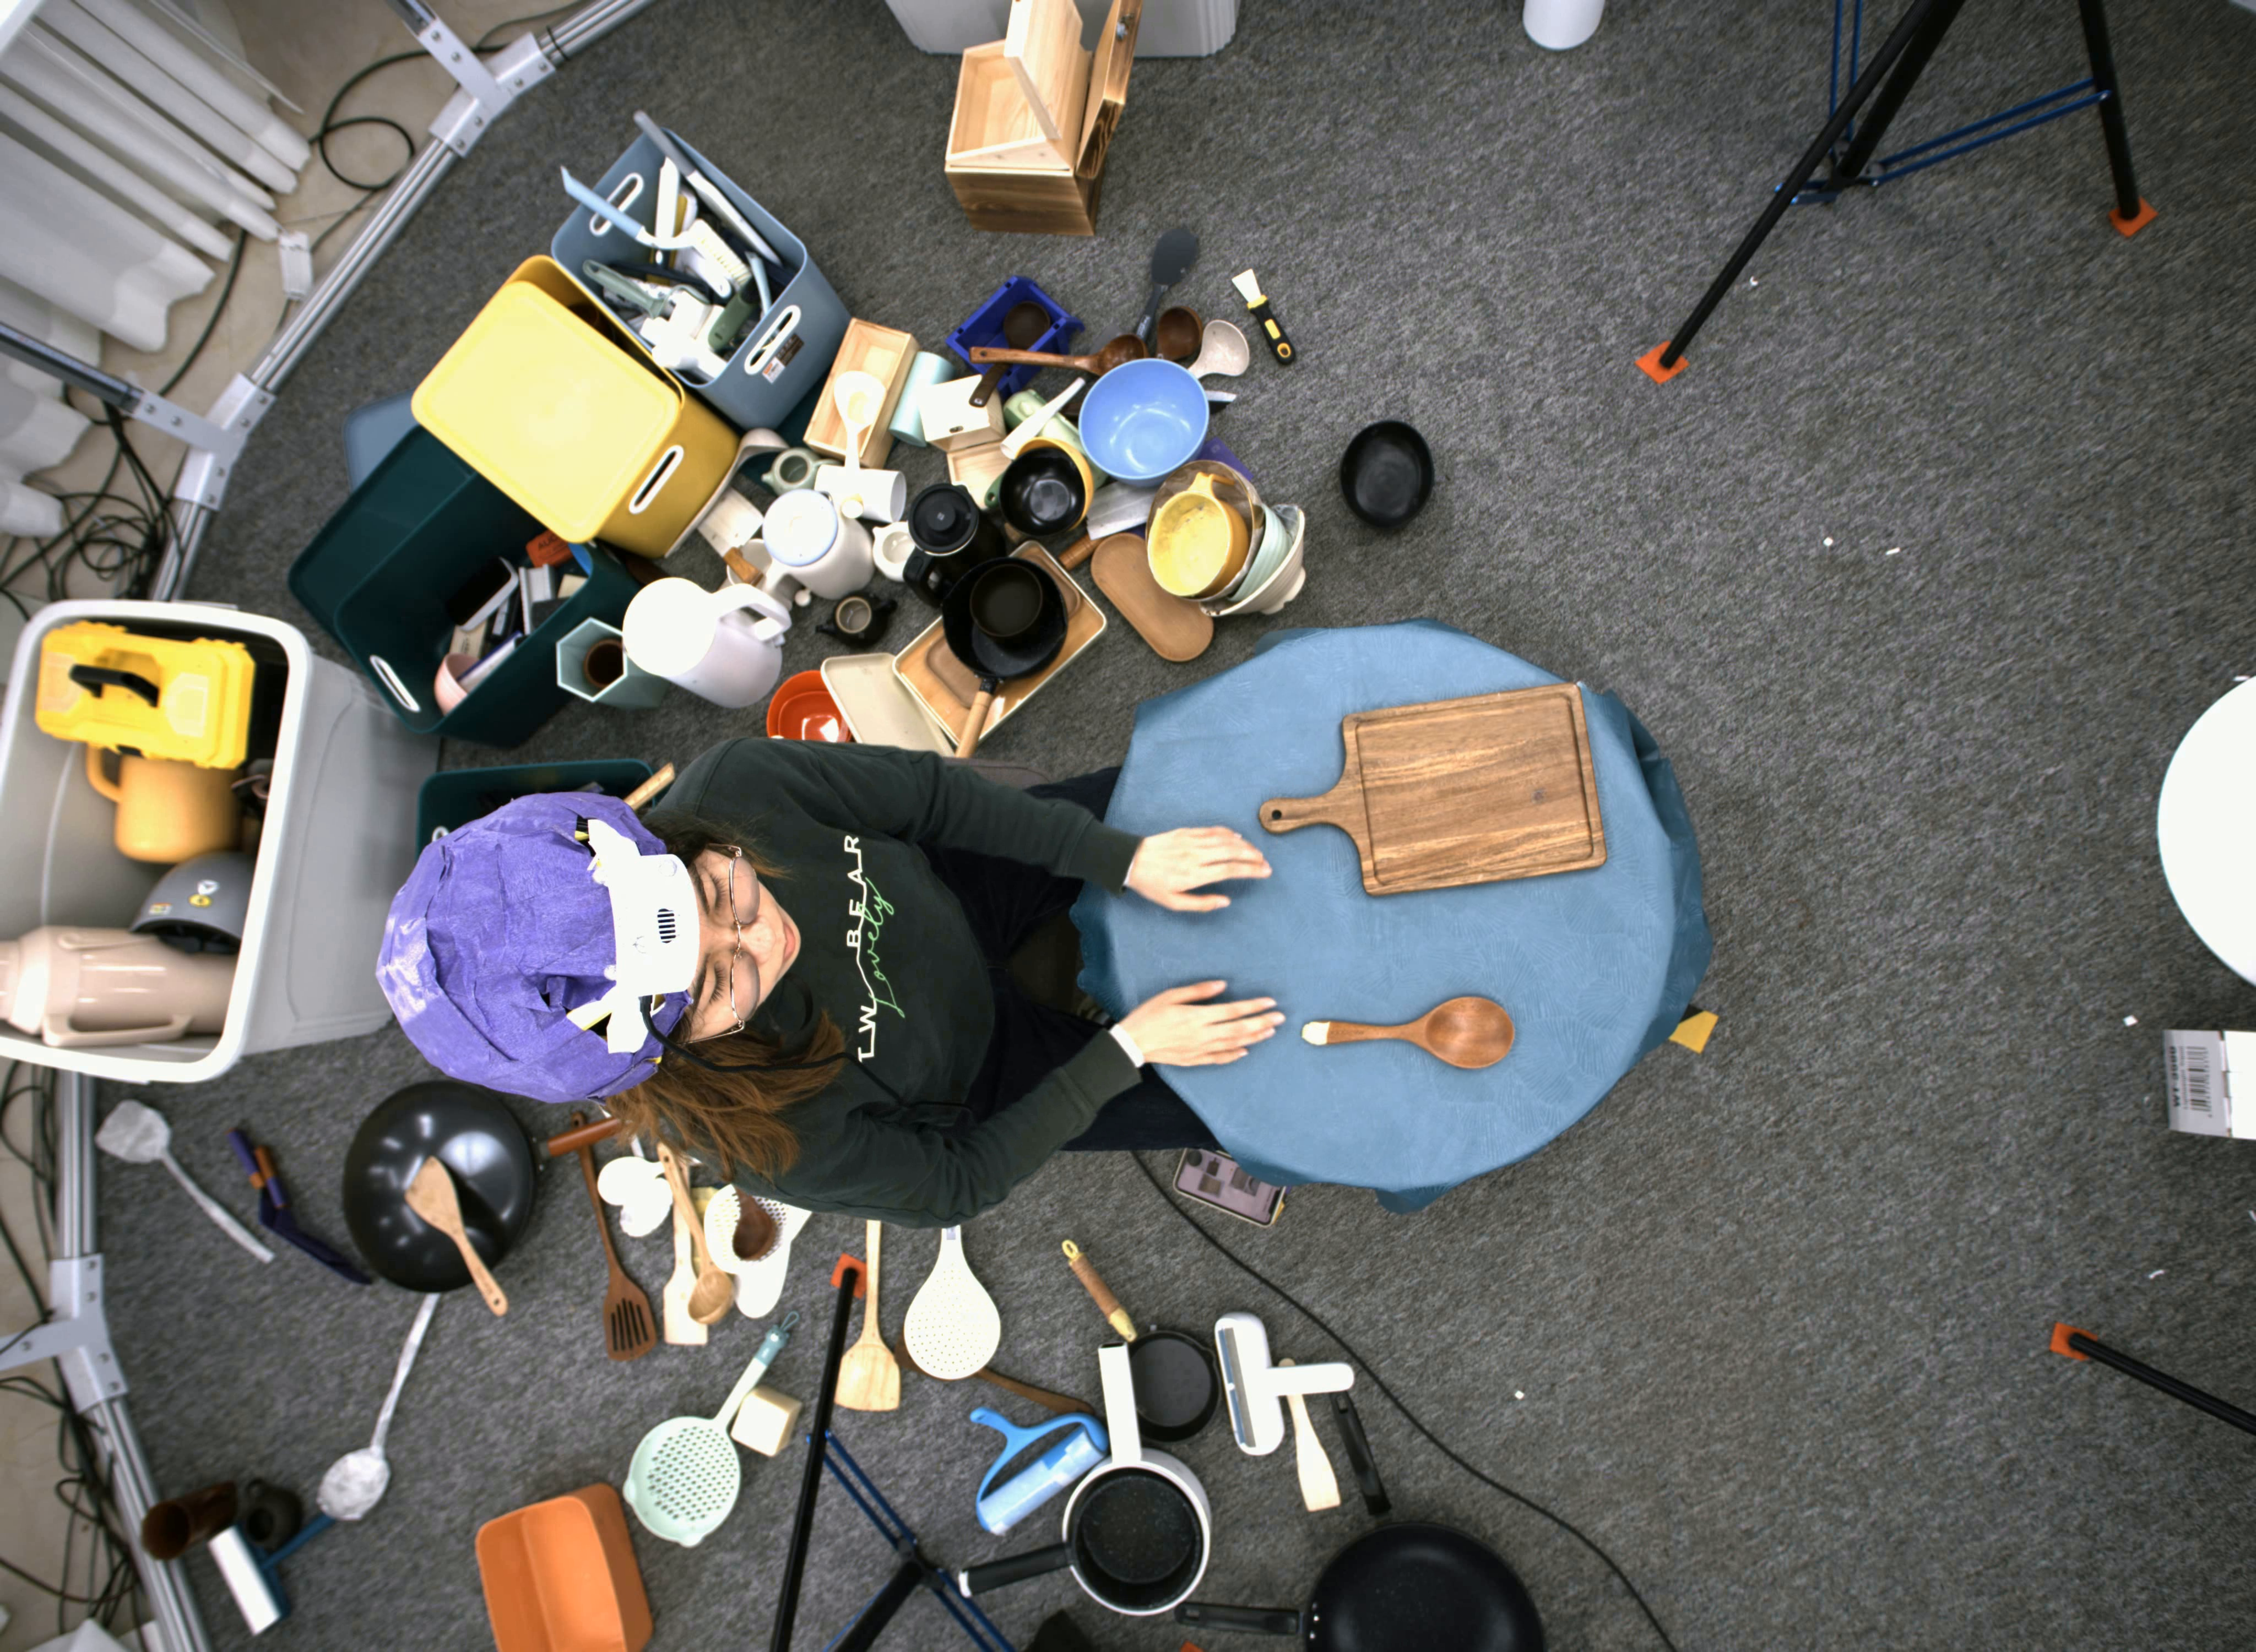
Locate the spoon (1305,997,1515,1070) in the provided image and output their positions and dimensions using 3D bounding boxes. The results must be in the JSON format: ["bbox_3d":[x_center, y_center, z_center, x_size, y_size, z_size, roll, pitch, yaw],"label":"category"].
[{"bbox_3d":[0.293,0.215,1.442,0.217,0.017,0.075,-2,87,9],"label":"spoon"}]

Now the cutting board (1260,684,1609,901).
[{"bbox_3d":[0.314,-0.030,1.454,0.354,0.023,0.200,-8,85,10],"label":"cutting board"}]
